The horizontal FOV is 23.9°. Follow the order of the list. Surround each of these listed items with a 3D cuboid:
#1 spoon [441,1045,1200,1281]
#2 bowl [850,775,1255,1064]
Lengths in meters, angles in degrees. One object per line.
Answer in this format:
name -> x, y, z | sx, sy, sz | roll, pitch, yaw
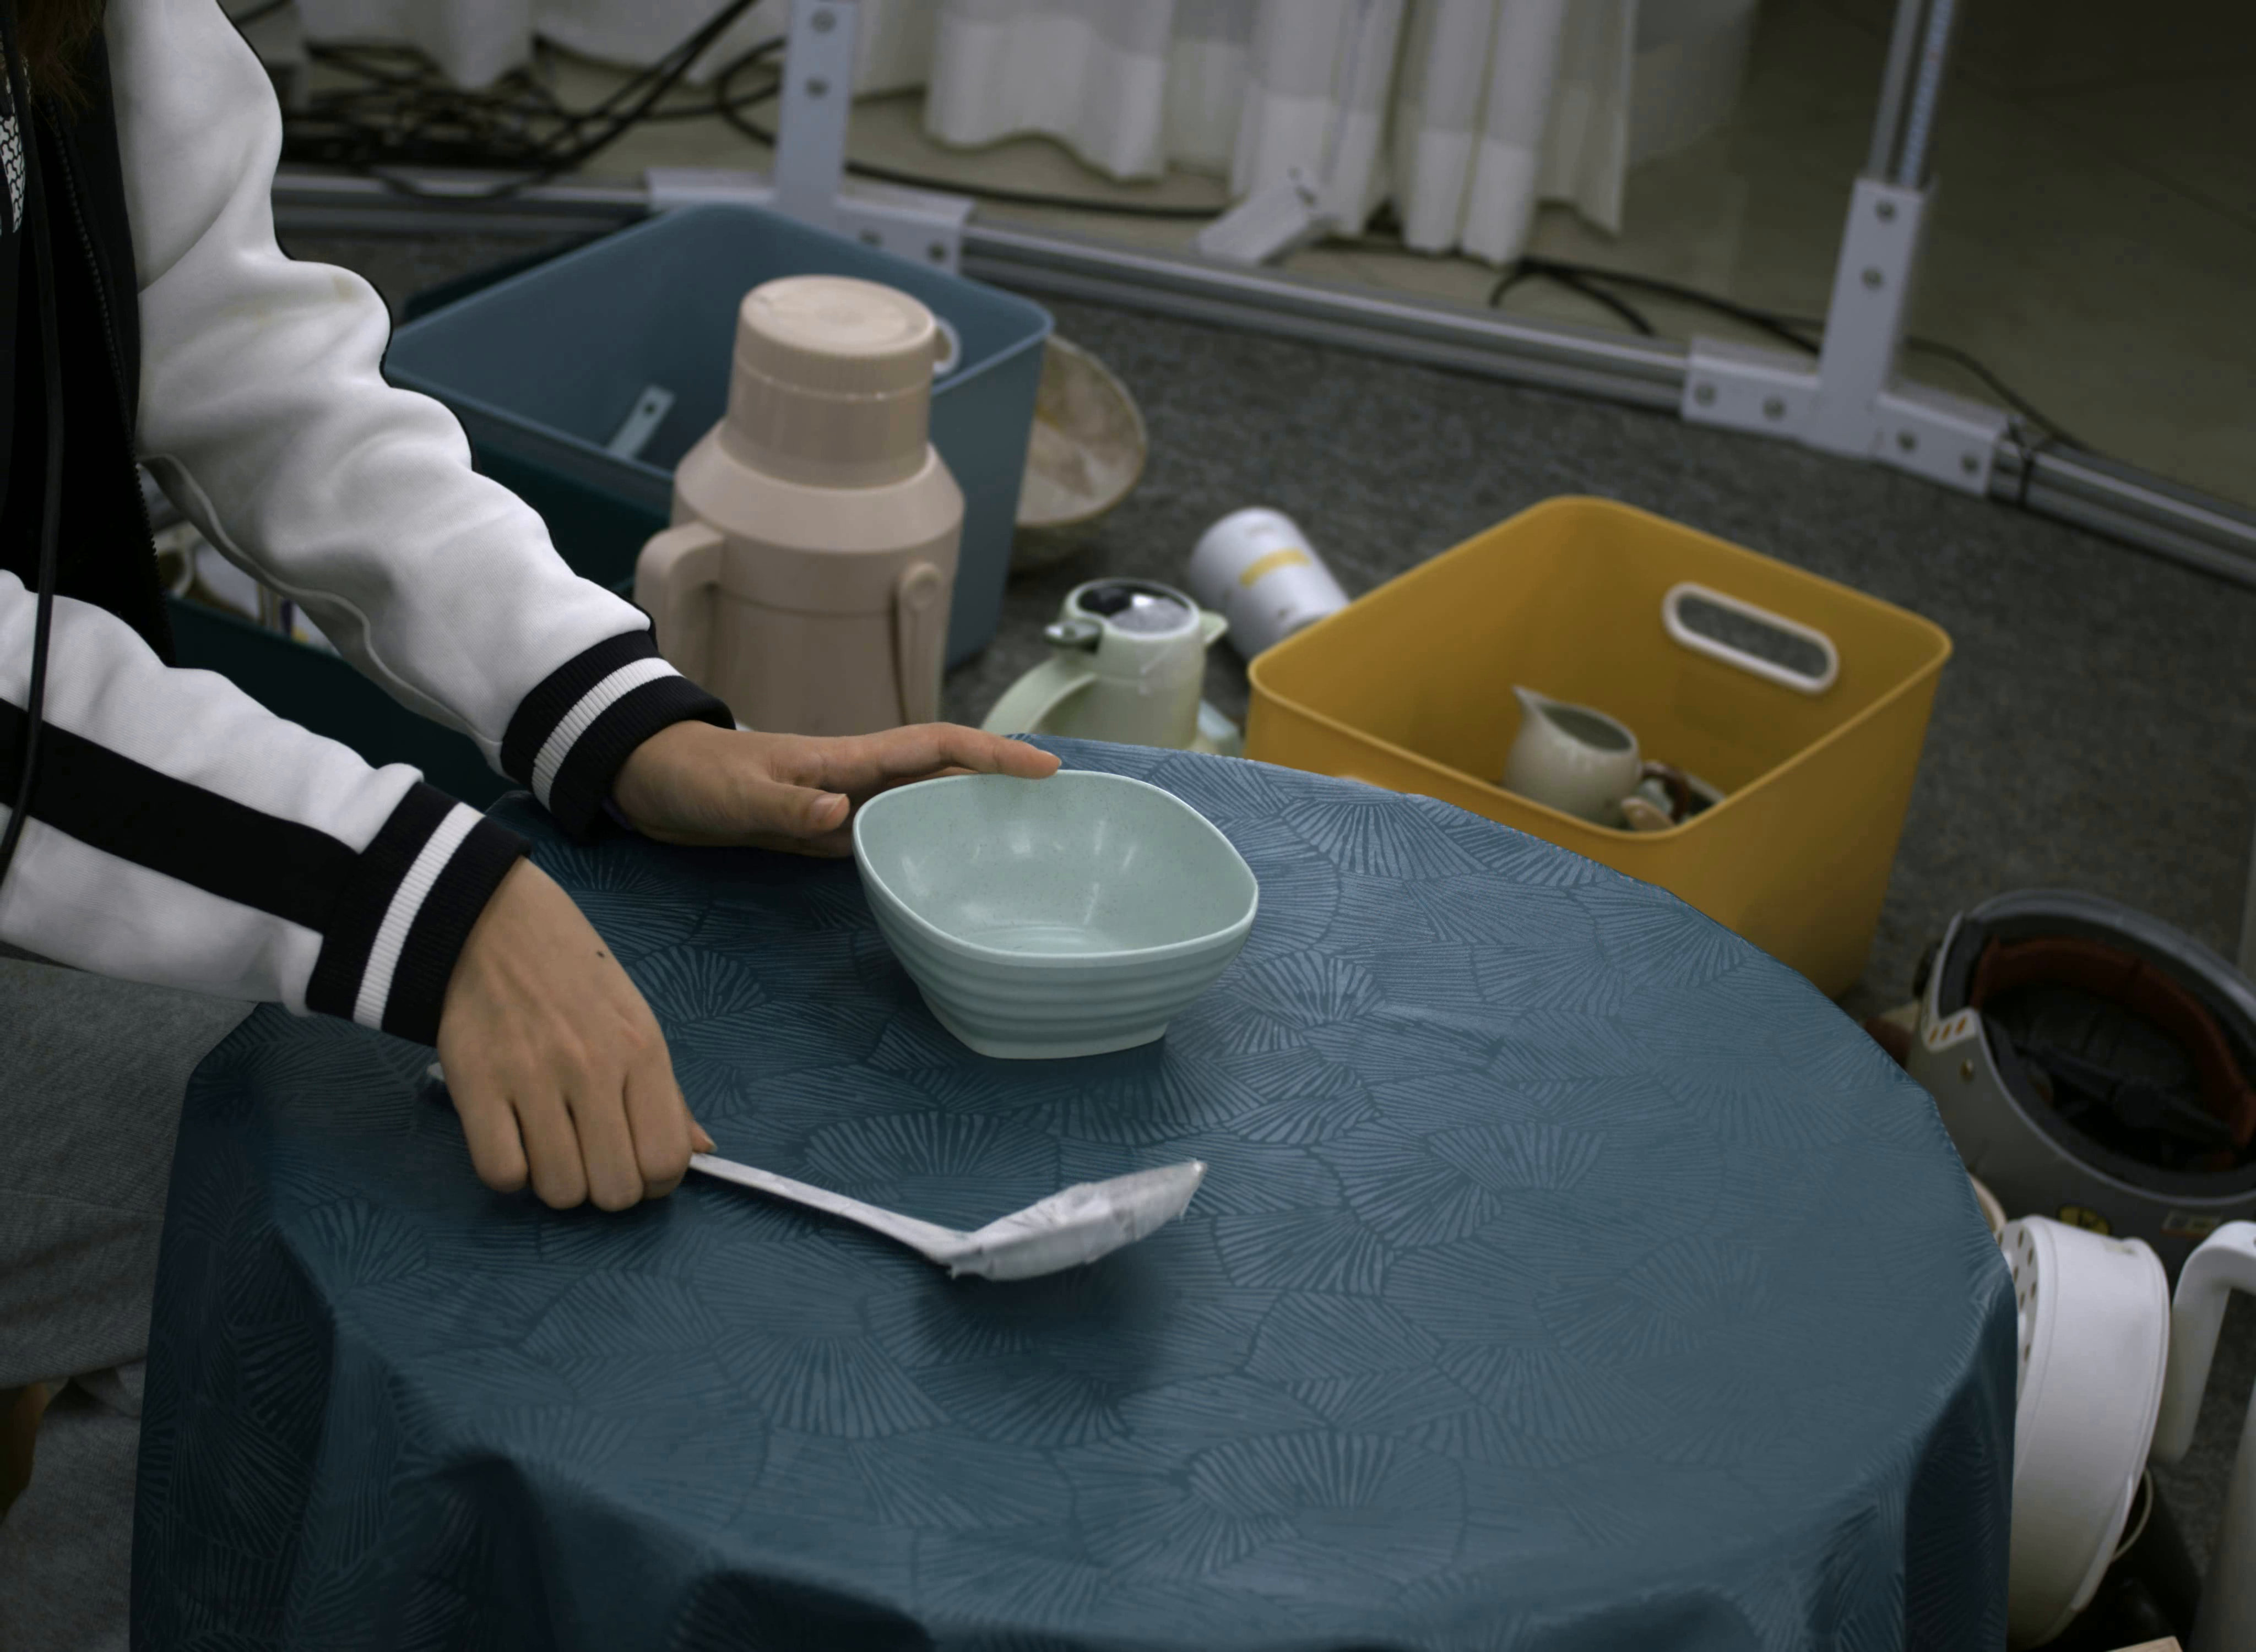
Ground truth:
spoon -> -0.106, 0.095, 1.771 | 0.278, 0.059, 0.100 | 19, 14, 23
bowl -> -0.030, 0.039, 1.903 | 0.151, 0.058, 0.152 | 5, 27, -3
